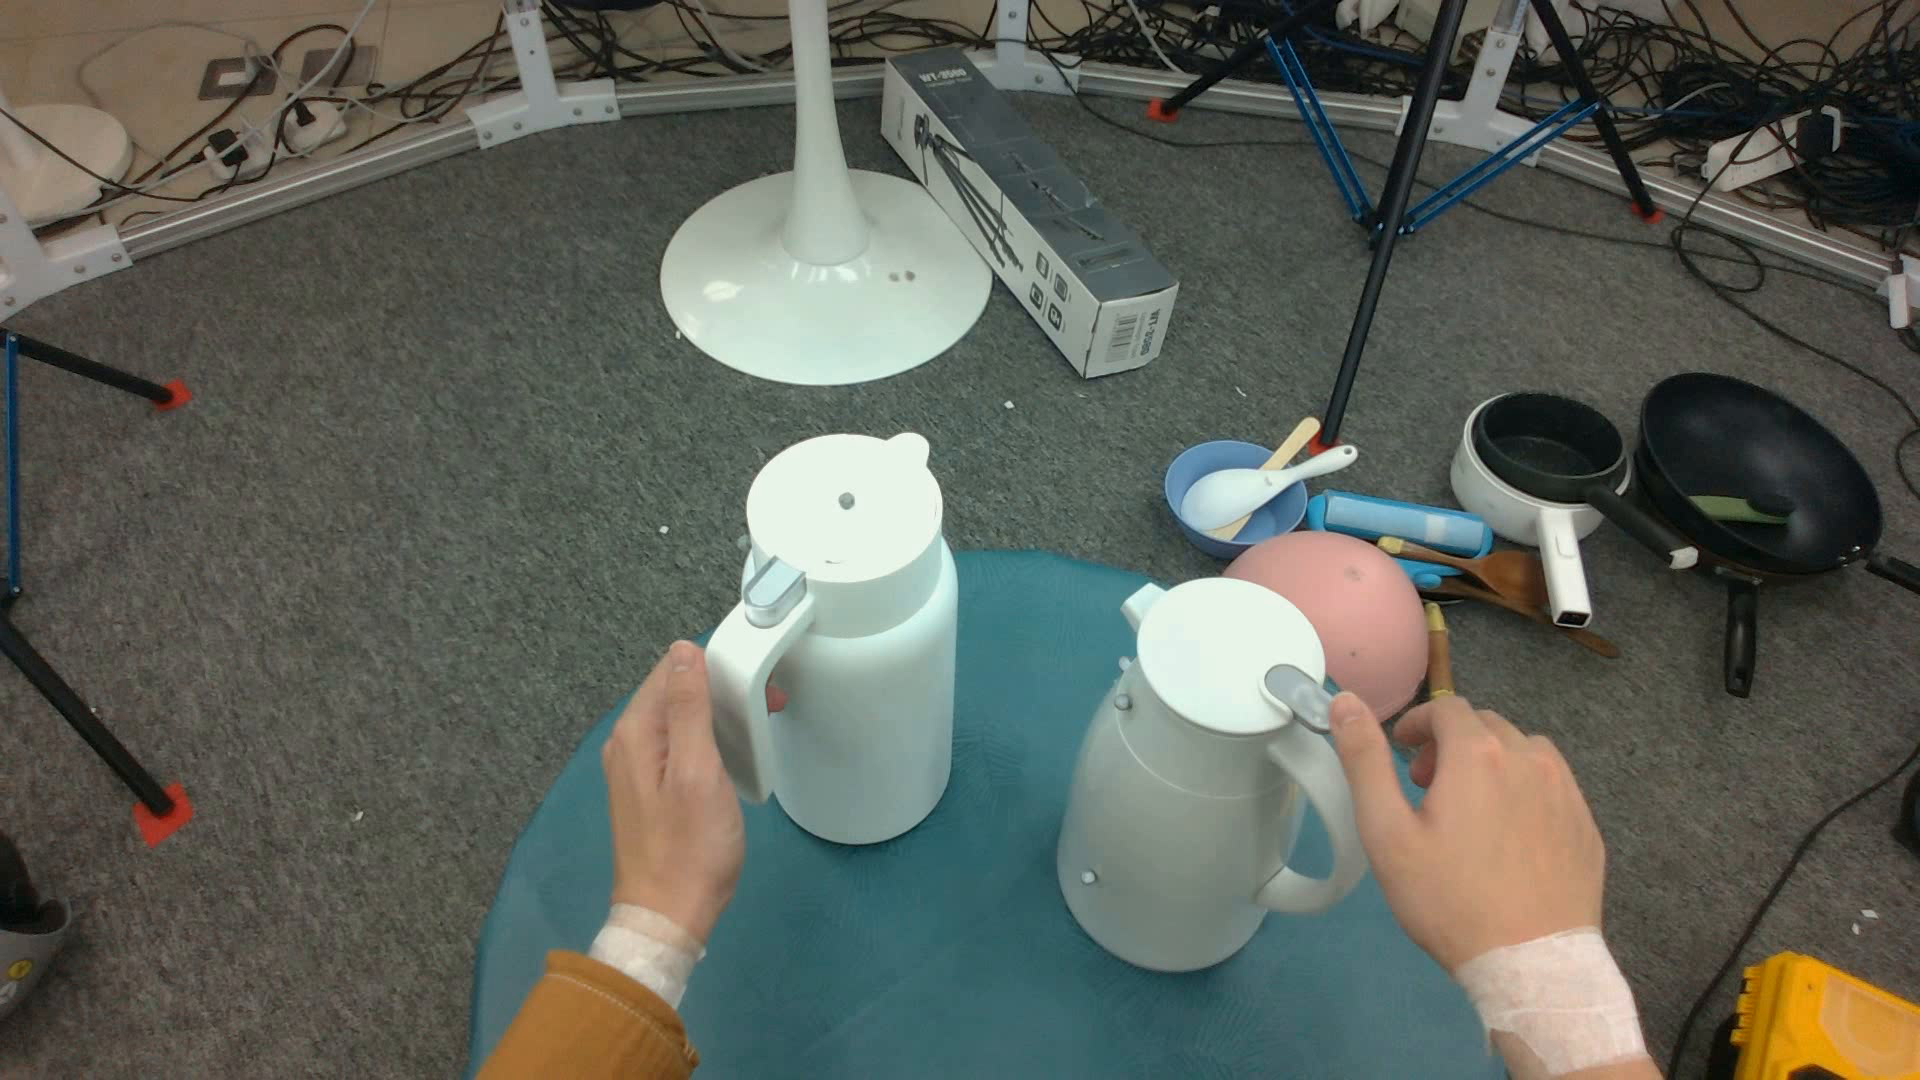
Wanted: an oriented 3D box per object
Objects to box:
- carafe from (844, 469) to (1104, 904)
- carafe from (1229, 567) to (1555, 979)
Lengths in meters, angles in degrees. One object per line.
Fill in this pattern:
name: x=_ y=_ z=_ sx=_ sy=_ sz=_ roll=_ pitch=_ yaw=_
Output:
carafe: x=0.009 y=0.108 z=0.774 sx=0.124 sy=0.267 sz=0.173 roll=17 pitch=54 yaw=21
carafe: x=0.226 y=0.130 z=0.728 sx=0.168 sy=0.247 sz=0.133 roll=32 pitch=61 yaw=31
